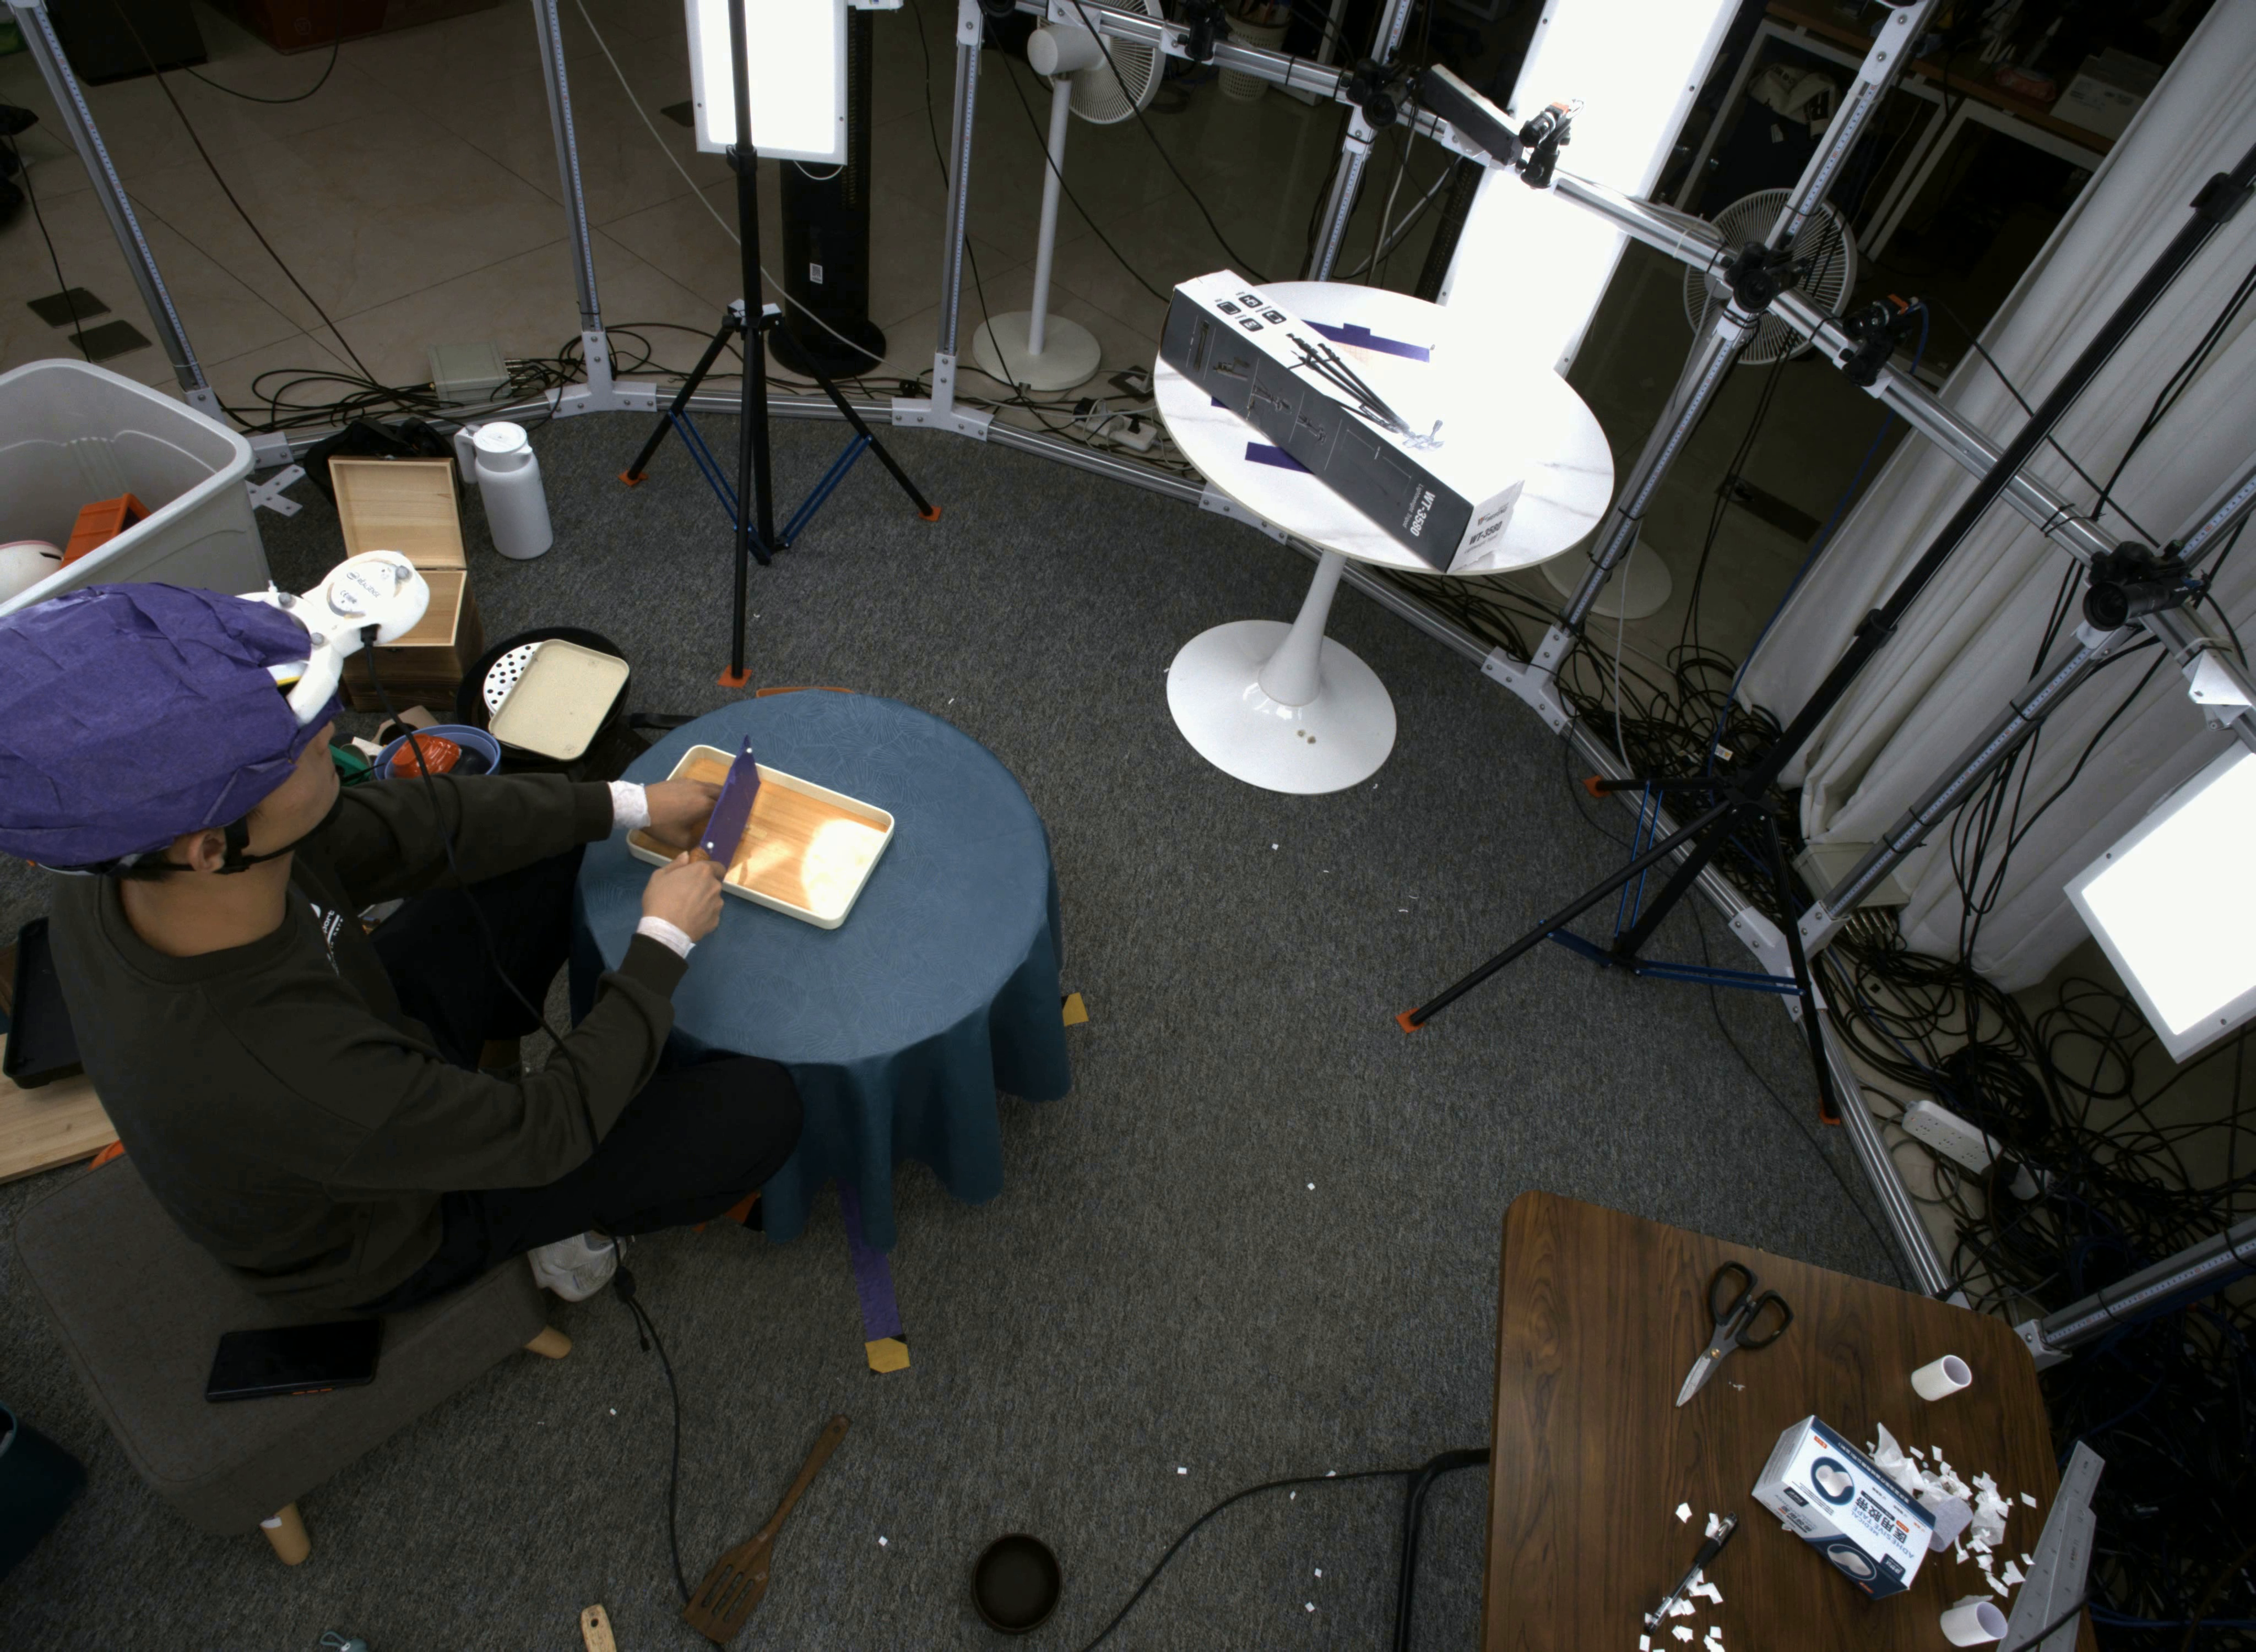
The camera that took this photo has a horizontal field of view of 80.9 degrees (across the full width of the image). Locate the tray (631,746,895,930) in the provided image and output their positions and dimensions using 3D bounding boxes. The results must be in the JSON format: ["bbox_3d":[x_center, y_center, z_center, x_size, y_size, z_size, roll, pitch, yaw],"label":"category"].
[{"bbox_3d":[-0.476,0.011,1.695,0.297,0.028,0.189,20,51,1],"label":"tray"}]

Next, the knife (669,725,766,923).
[{"bbox_3d":[-0.495,0.013,1.593,0.032,0.107,0.309,2,45,5],"label":"knife"}]
